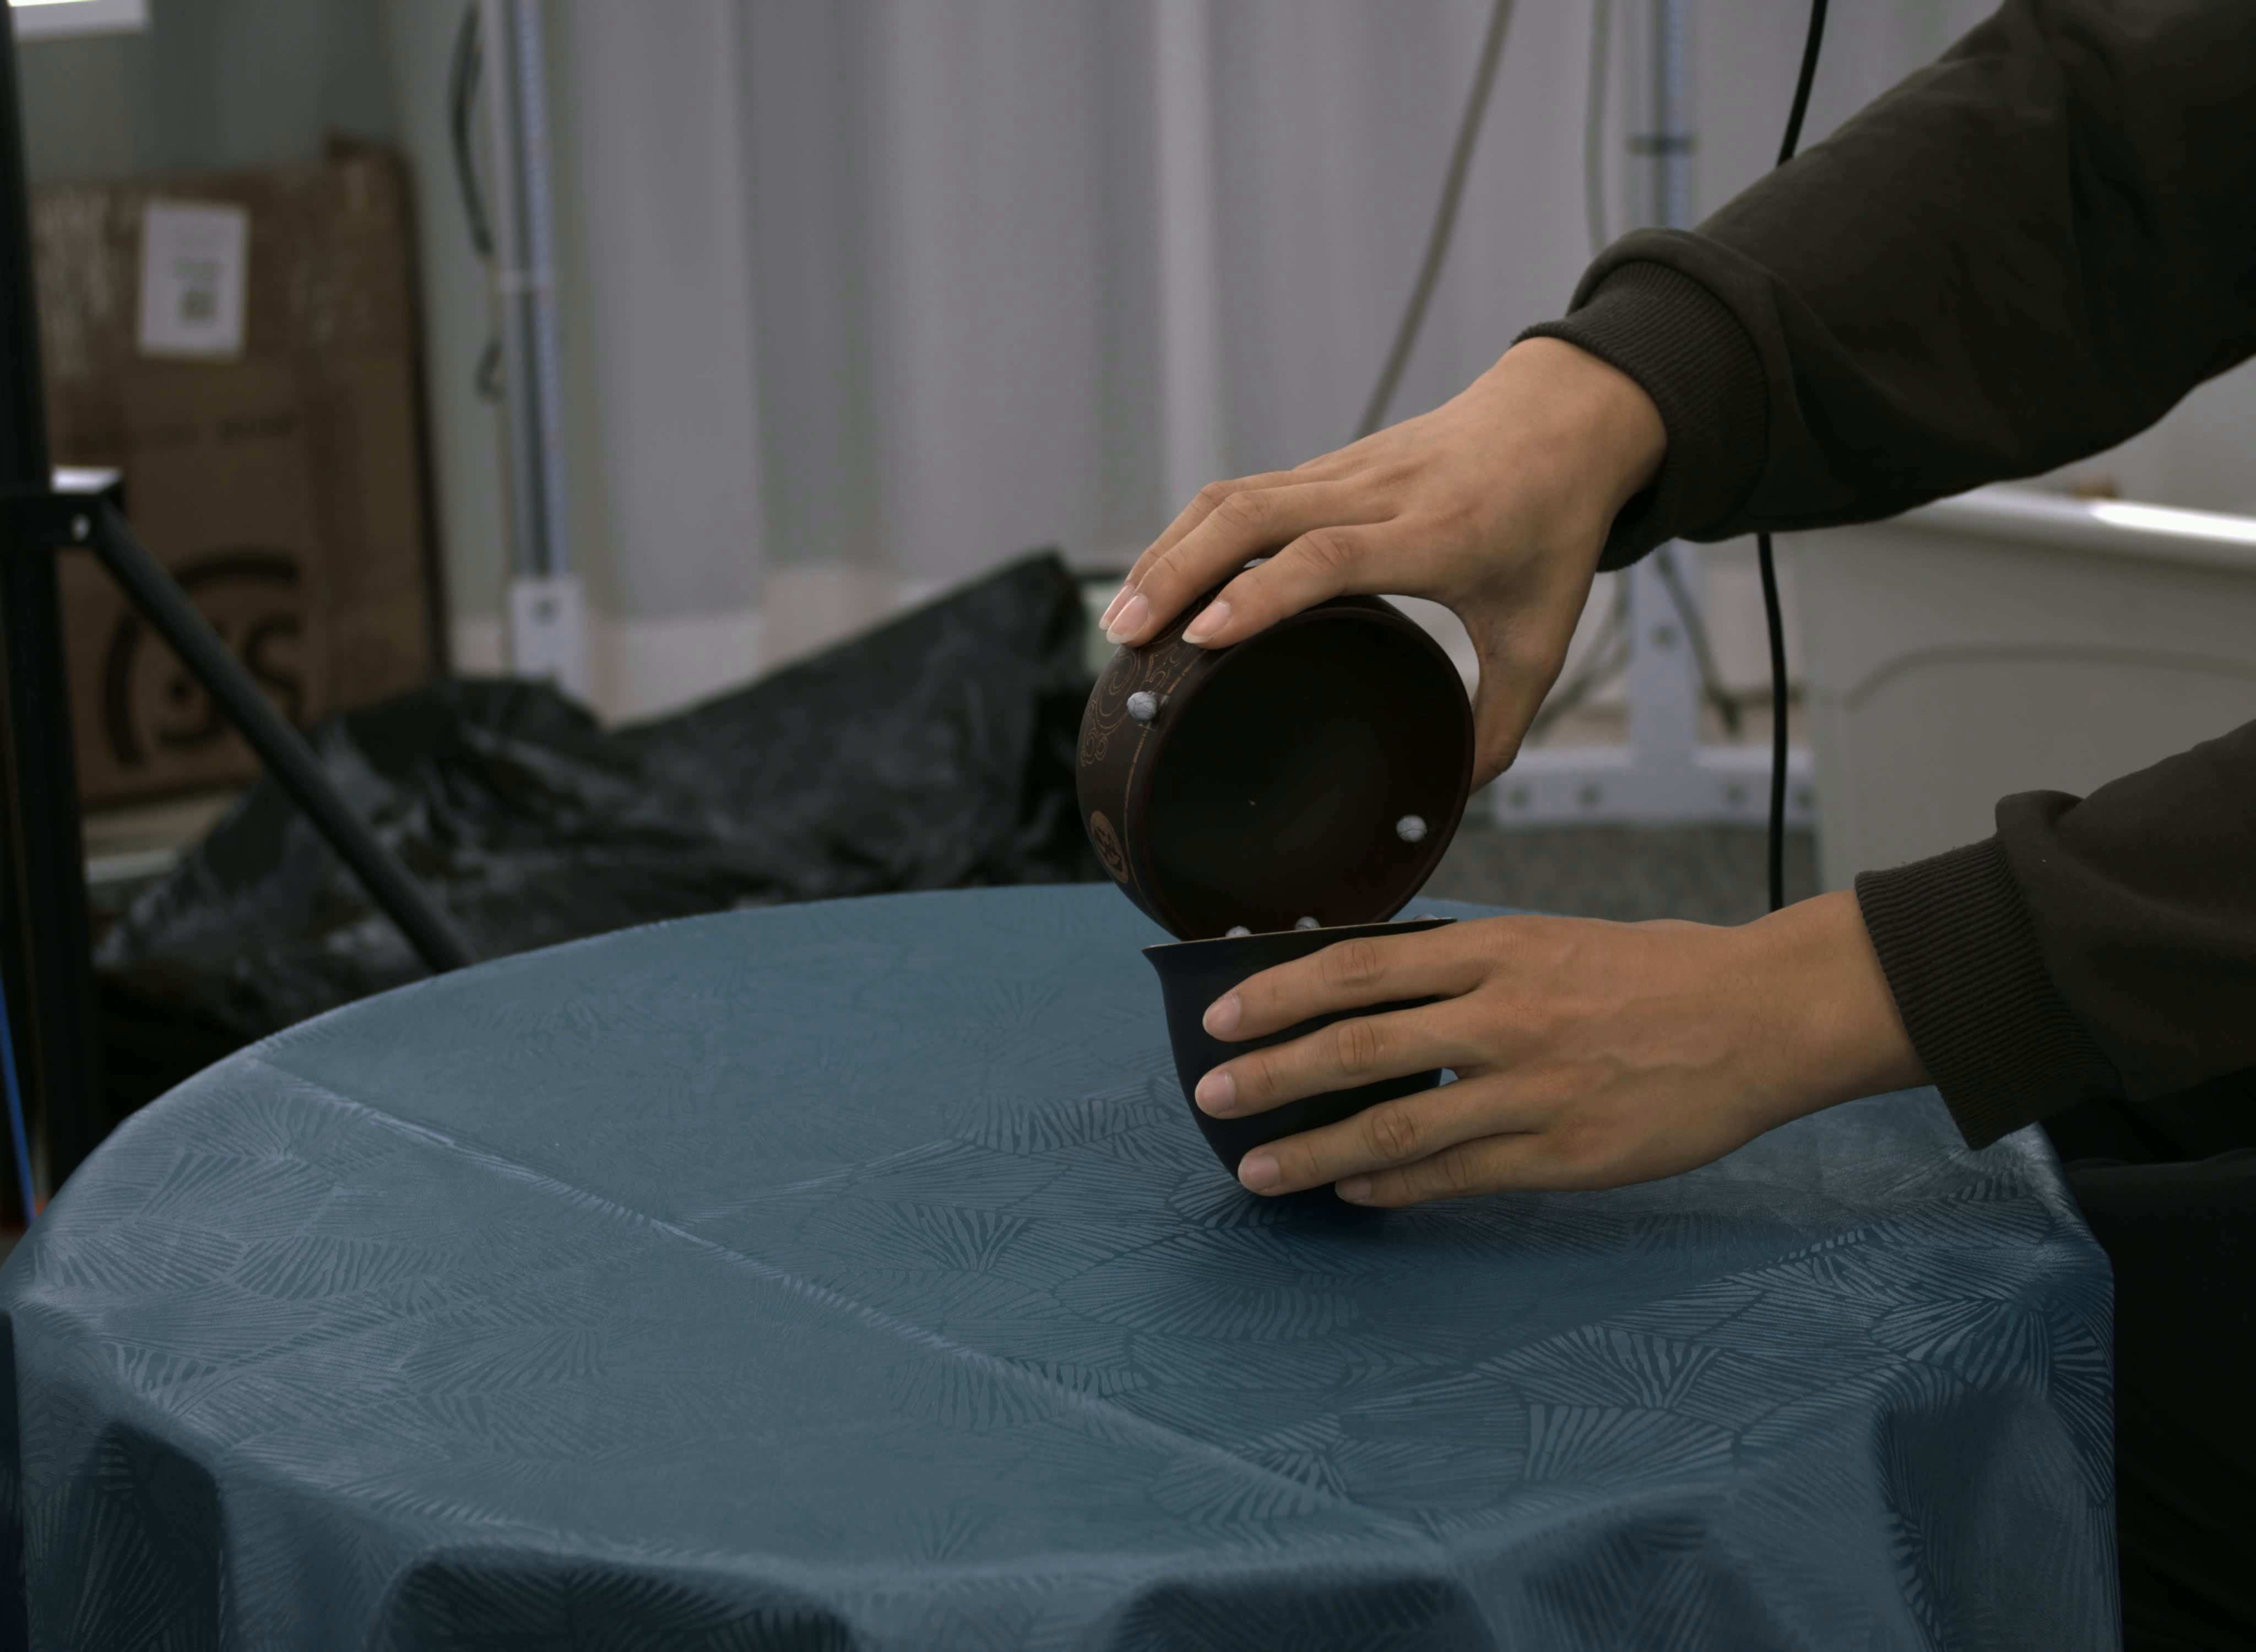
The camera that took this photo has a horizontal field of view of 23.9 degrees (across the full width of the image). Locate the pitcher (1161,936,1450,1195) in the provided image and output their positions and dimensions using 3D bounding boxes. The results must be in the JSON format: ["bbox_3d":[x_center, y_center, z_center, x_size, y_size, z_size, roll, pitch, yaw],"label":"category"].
[{"bbox_3d":[0.054,0.069,1.546,0.083,0.072,0.096,-9,-4,-6],"label":"pitcher"}]

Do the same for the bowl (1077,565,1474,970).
[{"bbox_3d":[0.036,-0.022,1.565,0.115,0.118,0.071,-11,25,-28],"label":"bowl"}]
